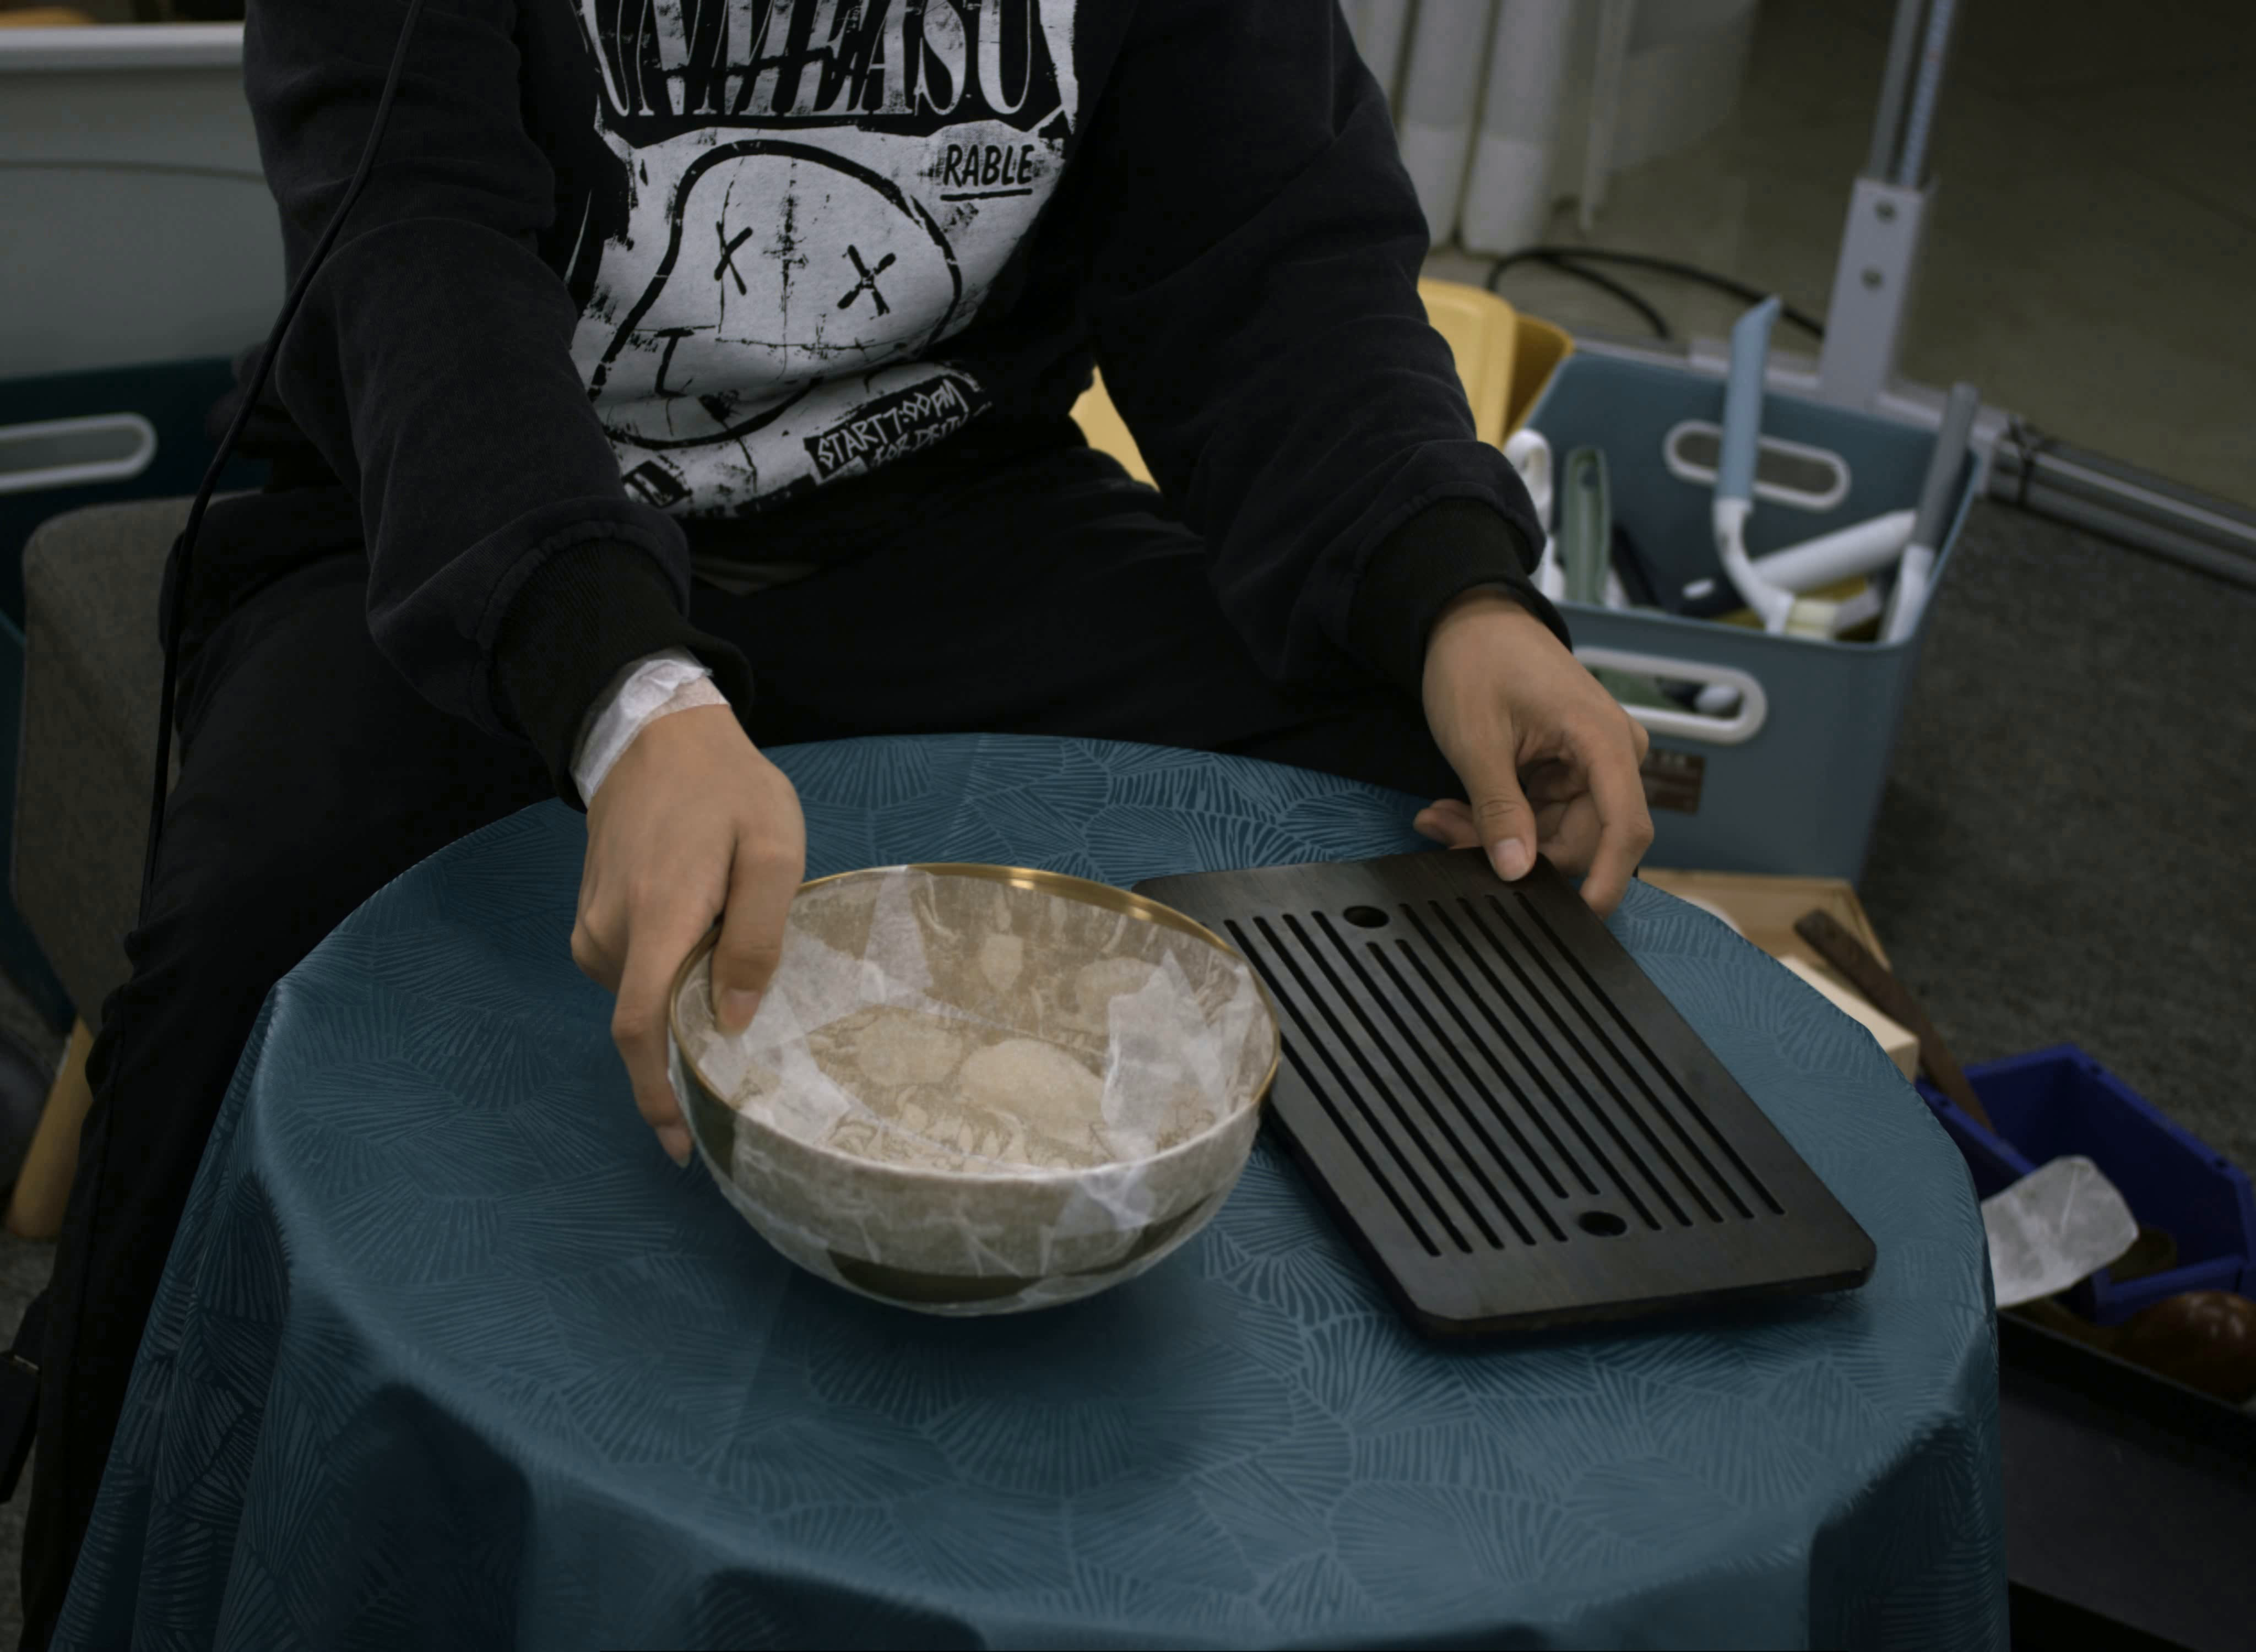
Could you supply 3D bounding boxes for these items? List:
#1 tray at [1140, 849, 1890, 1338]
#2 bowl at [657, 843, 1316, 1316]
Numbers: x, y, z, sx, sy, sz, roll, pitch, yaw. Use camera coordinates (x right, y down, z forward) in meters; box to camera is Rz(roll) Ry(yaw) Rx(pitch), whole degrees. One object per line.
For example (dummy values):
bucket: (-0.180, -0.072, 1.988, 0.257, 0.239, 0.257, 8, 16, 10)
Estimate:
tray: (0.128, 0.091, 1.871, 0.169, 0.018, 0.308, -5, 29, -19)
bowl: (-0.050, 0.096, 1.738, 0.214, 0.094, 0.216, 2, 28, -2)
